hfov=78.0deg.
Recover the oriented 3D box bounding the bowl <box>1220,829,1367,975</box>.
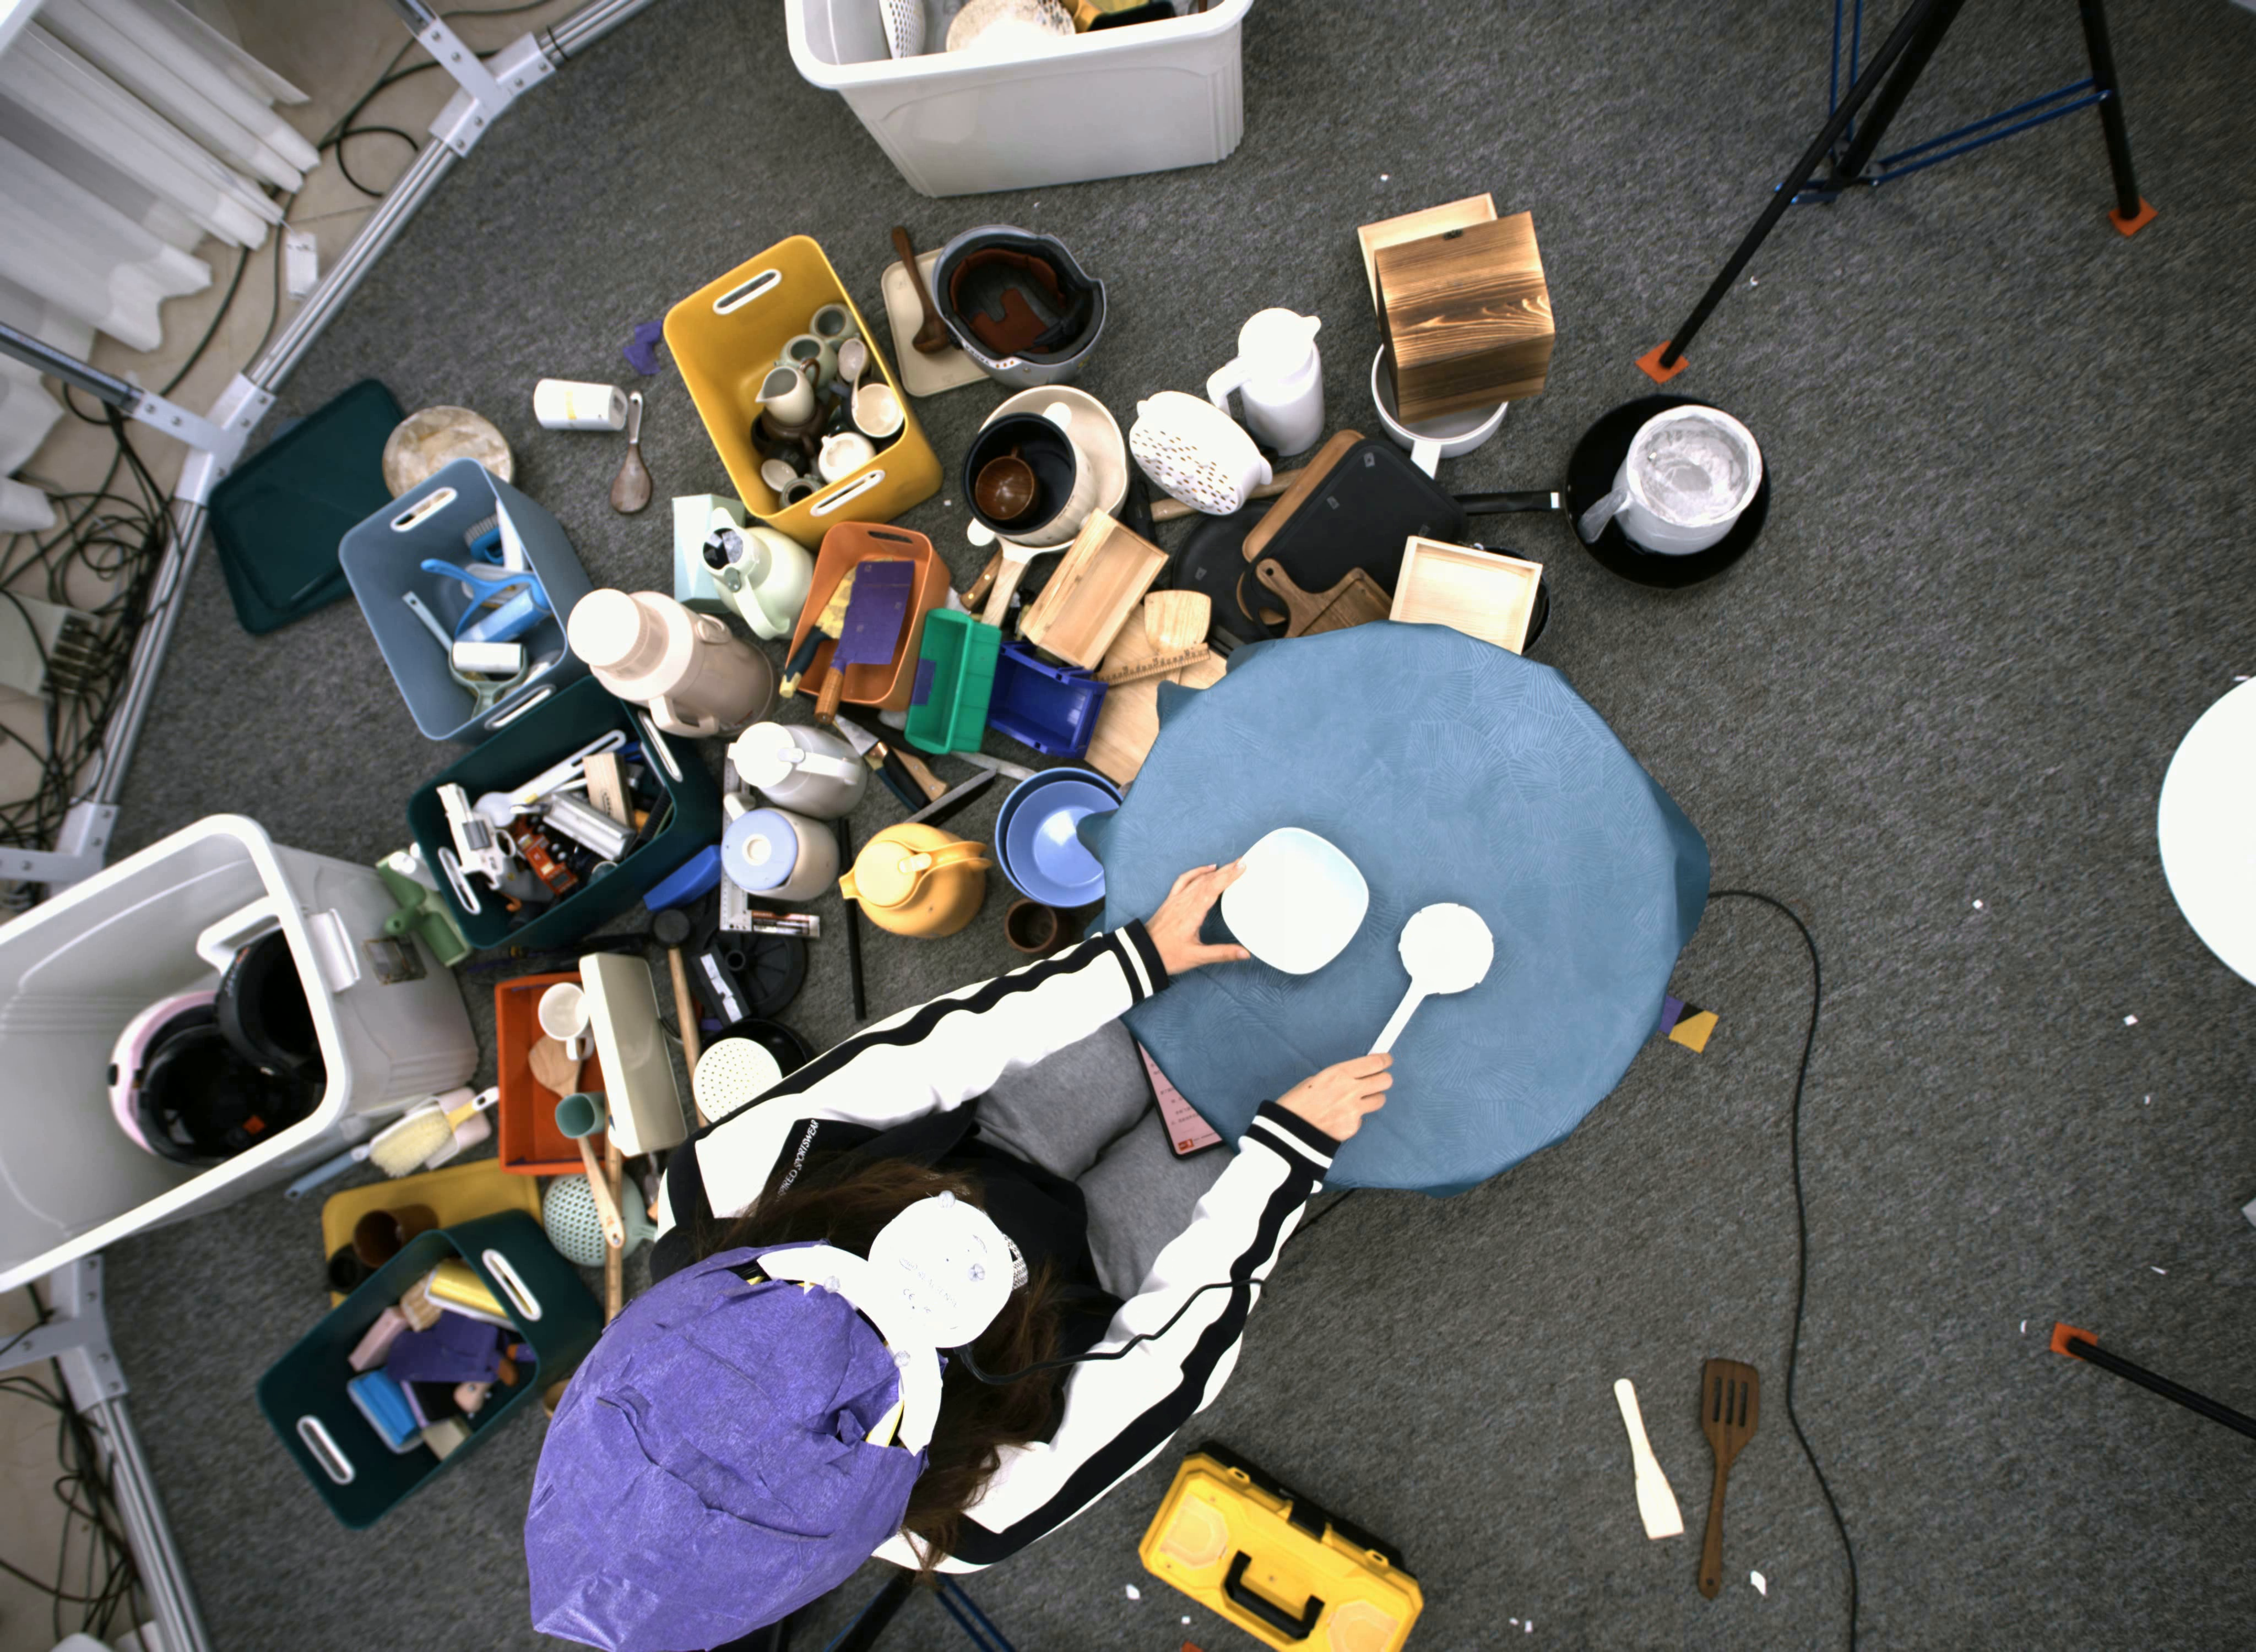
[{"bbox_3d":[0.174,0.080,1.451,0.152,0.059,0.151,-1,86,10],"label":"bowl"}]

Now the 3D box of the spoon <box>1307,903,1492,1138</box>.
[{"bbox_3d":[0.263,0.194,1.395,0.100,0.060,0.274,36,74,17],"label":"spoon"}]
